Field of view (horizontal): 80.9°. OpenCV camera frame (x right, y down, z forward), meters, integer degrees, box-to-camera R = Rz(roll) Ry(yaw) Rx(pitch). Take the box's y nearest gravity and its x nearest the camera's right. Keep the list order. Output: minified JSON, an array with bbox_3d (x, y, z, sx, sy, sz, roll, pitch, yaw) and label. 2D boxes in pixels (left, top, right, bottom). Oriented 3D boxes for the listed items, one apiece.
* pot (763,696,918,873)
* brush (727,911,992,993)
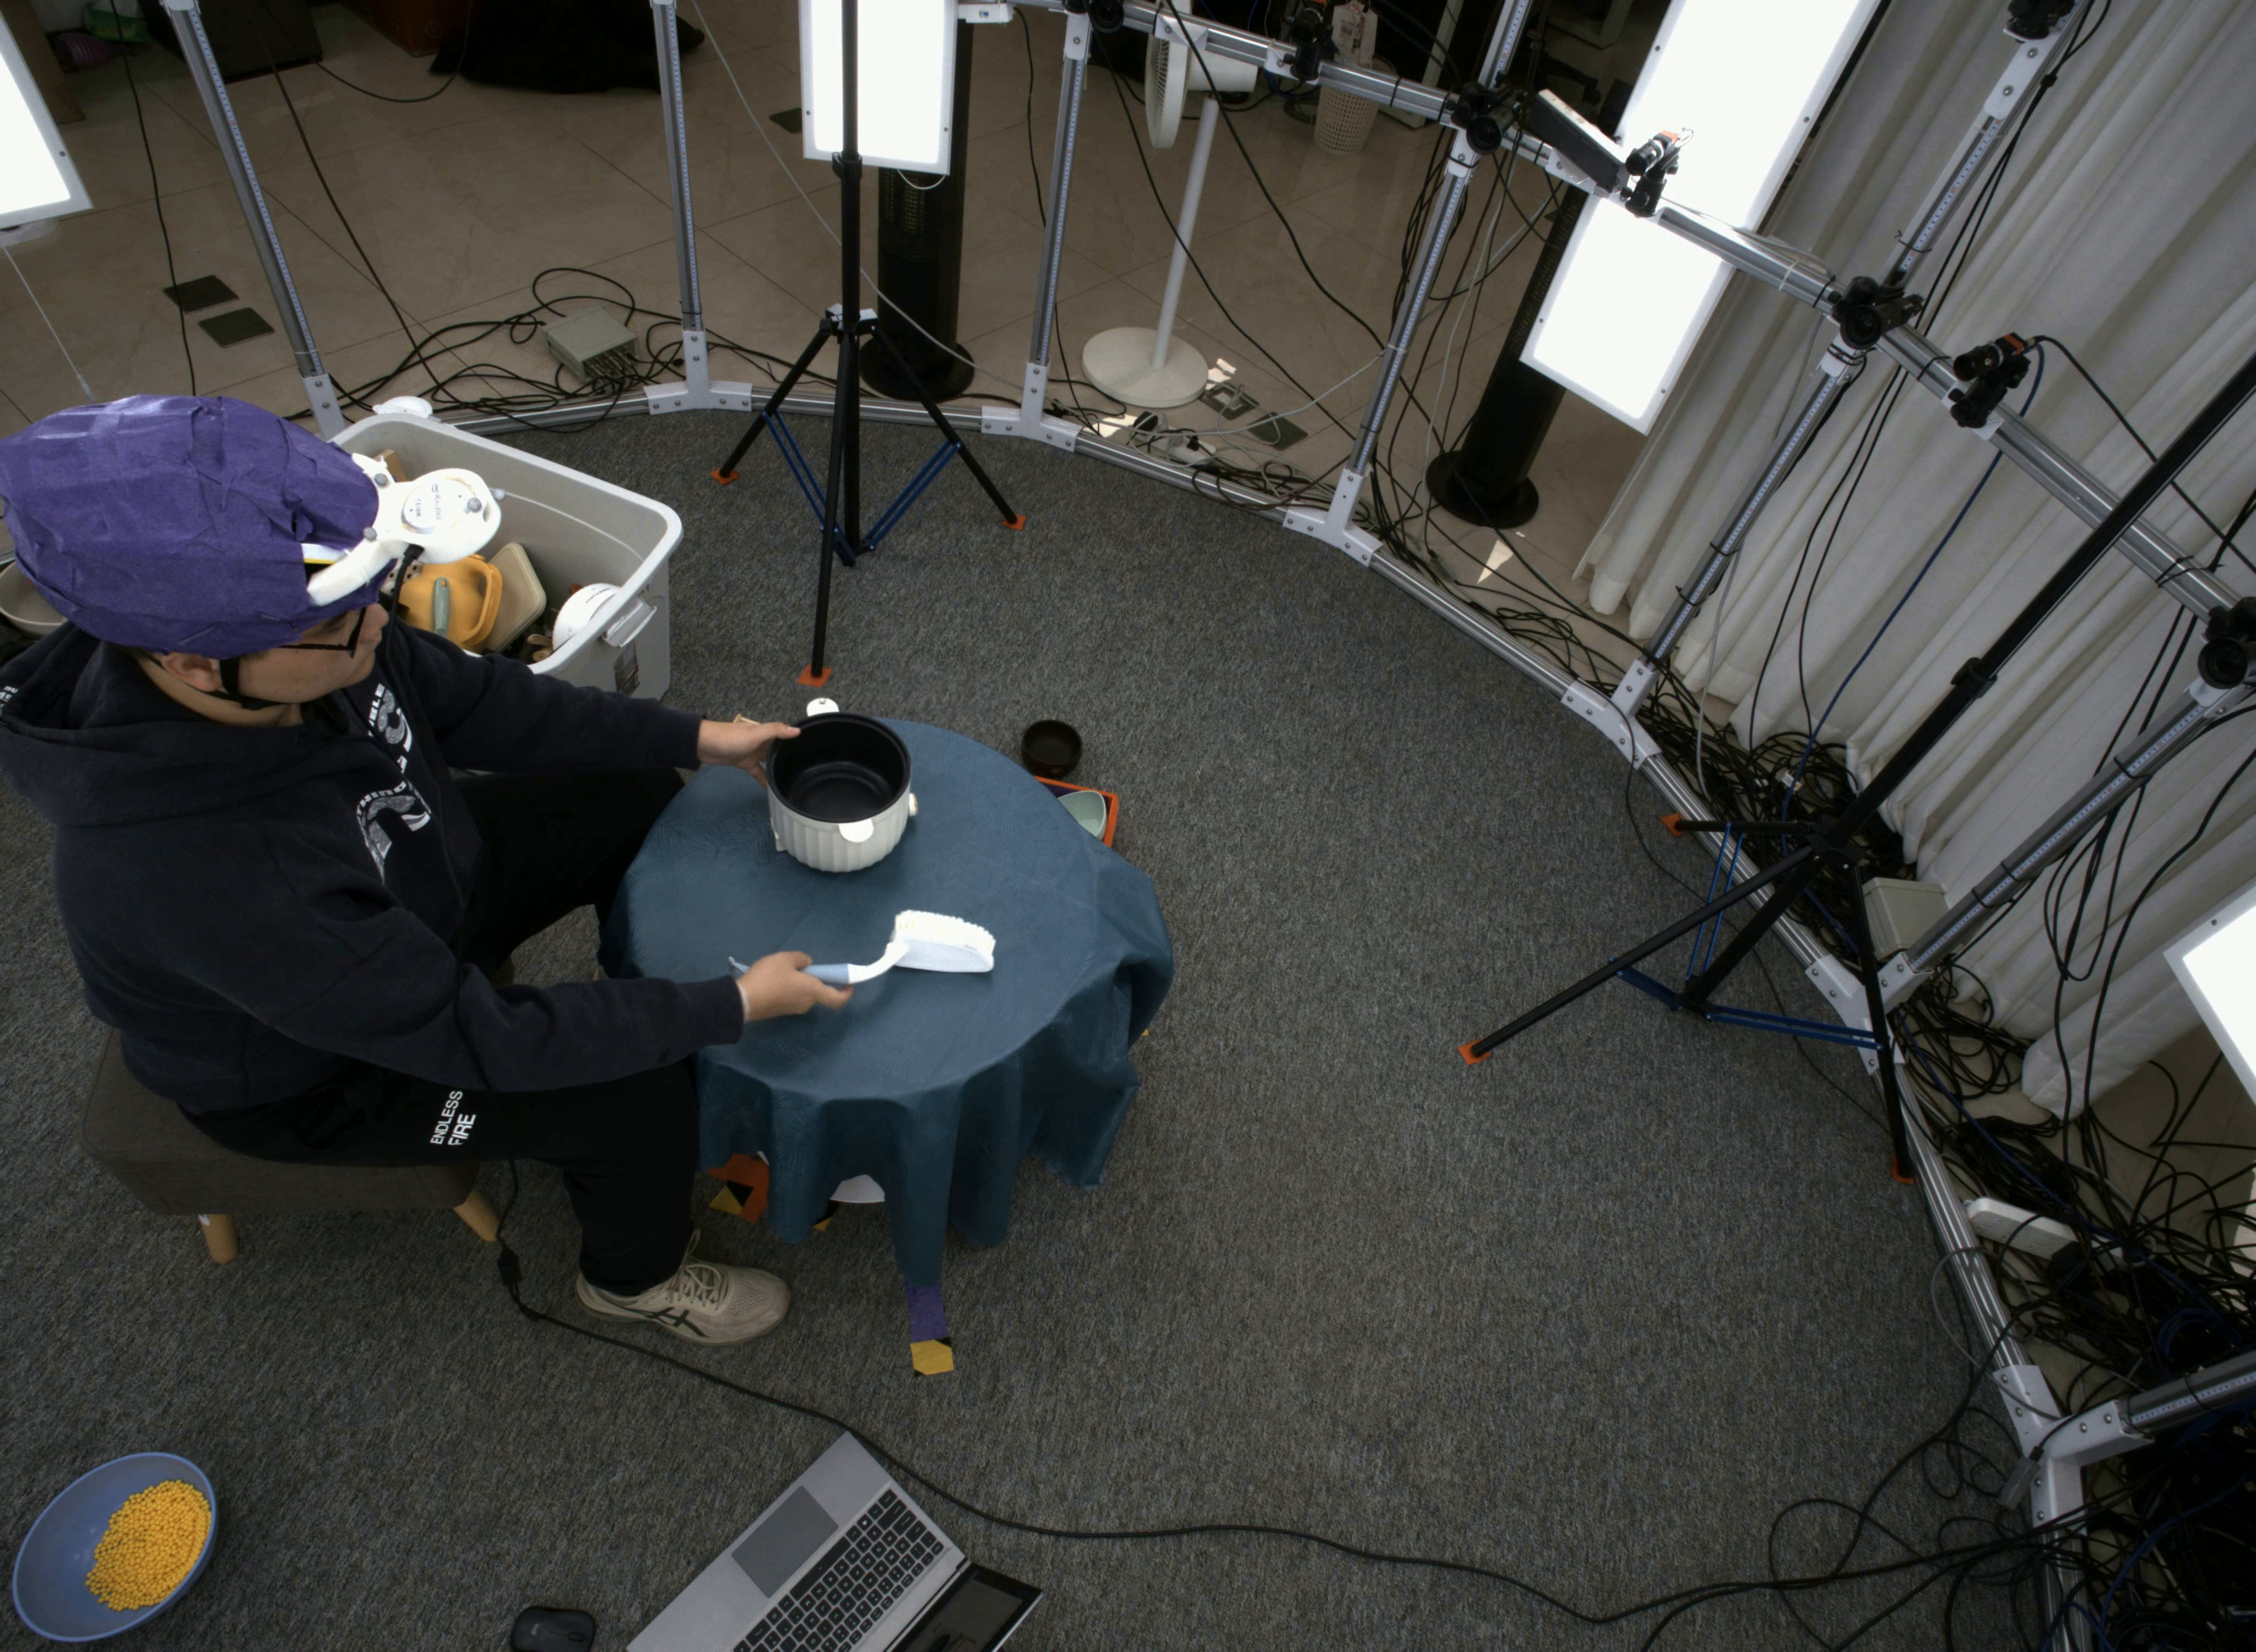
[{"bbox_3d":[-0.367,-0.040,1.675,0.191,0.146,0.234,-13,58,-18],"label":"pot"},{"bbox_3d":[-0.320,0.143,1.567,0.329,0.085,0.082,0,12,-26],"label":"brush"}]
